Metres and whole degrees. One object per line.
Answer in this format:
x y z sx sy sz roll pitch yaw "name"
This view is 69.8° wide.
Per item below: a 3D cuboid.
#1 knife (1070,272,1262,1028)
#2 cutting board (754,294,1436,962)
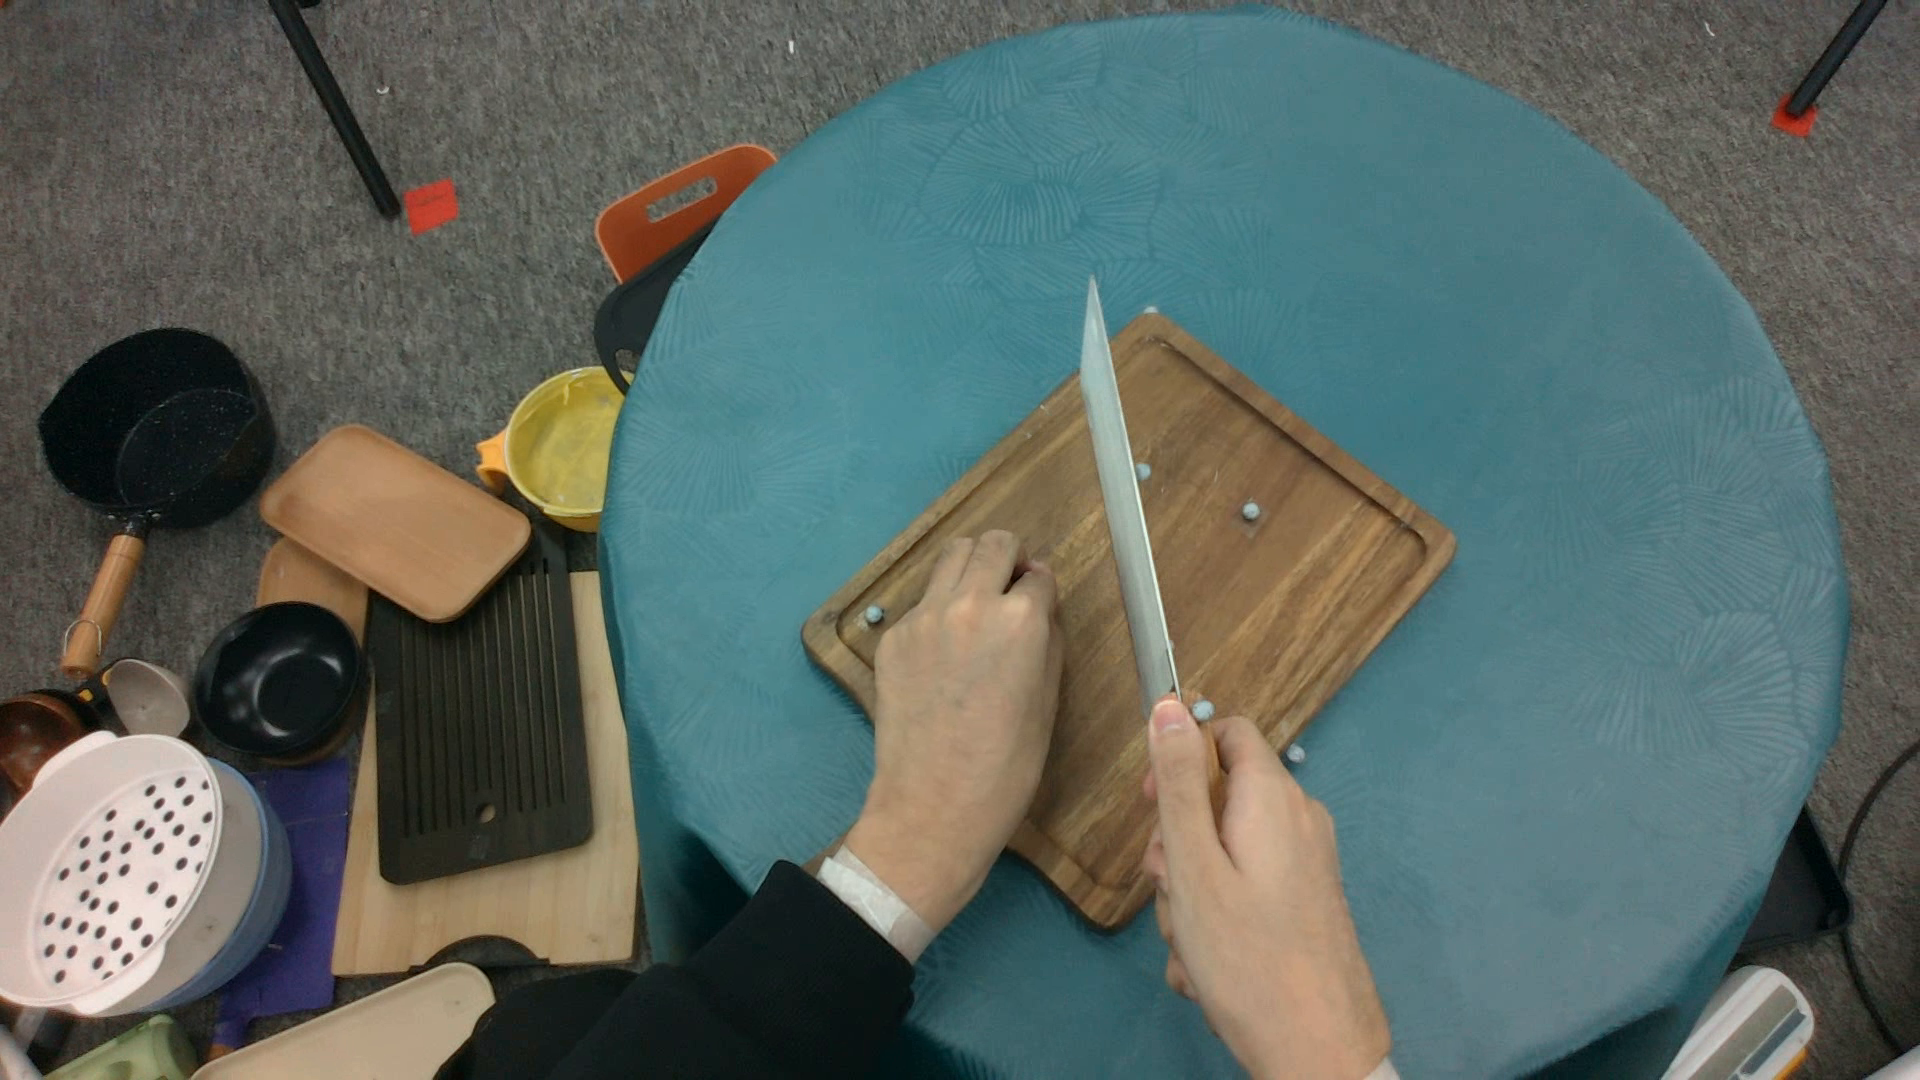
0.074 0.038 0.556 0.021 0.092 0.306 -8 67 -2 "knife"
0.039 0.050 0.627 0.201 0.023 0.353 40 71 17 "cutting board"
